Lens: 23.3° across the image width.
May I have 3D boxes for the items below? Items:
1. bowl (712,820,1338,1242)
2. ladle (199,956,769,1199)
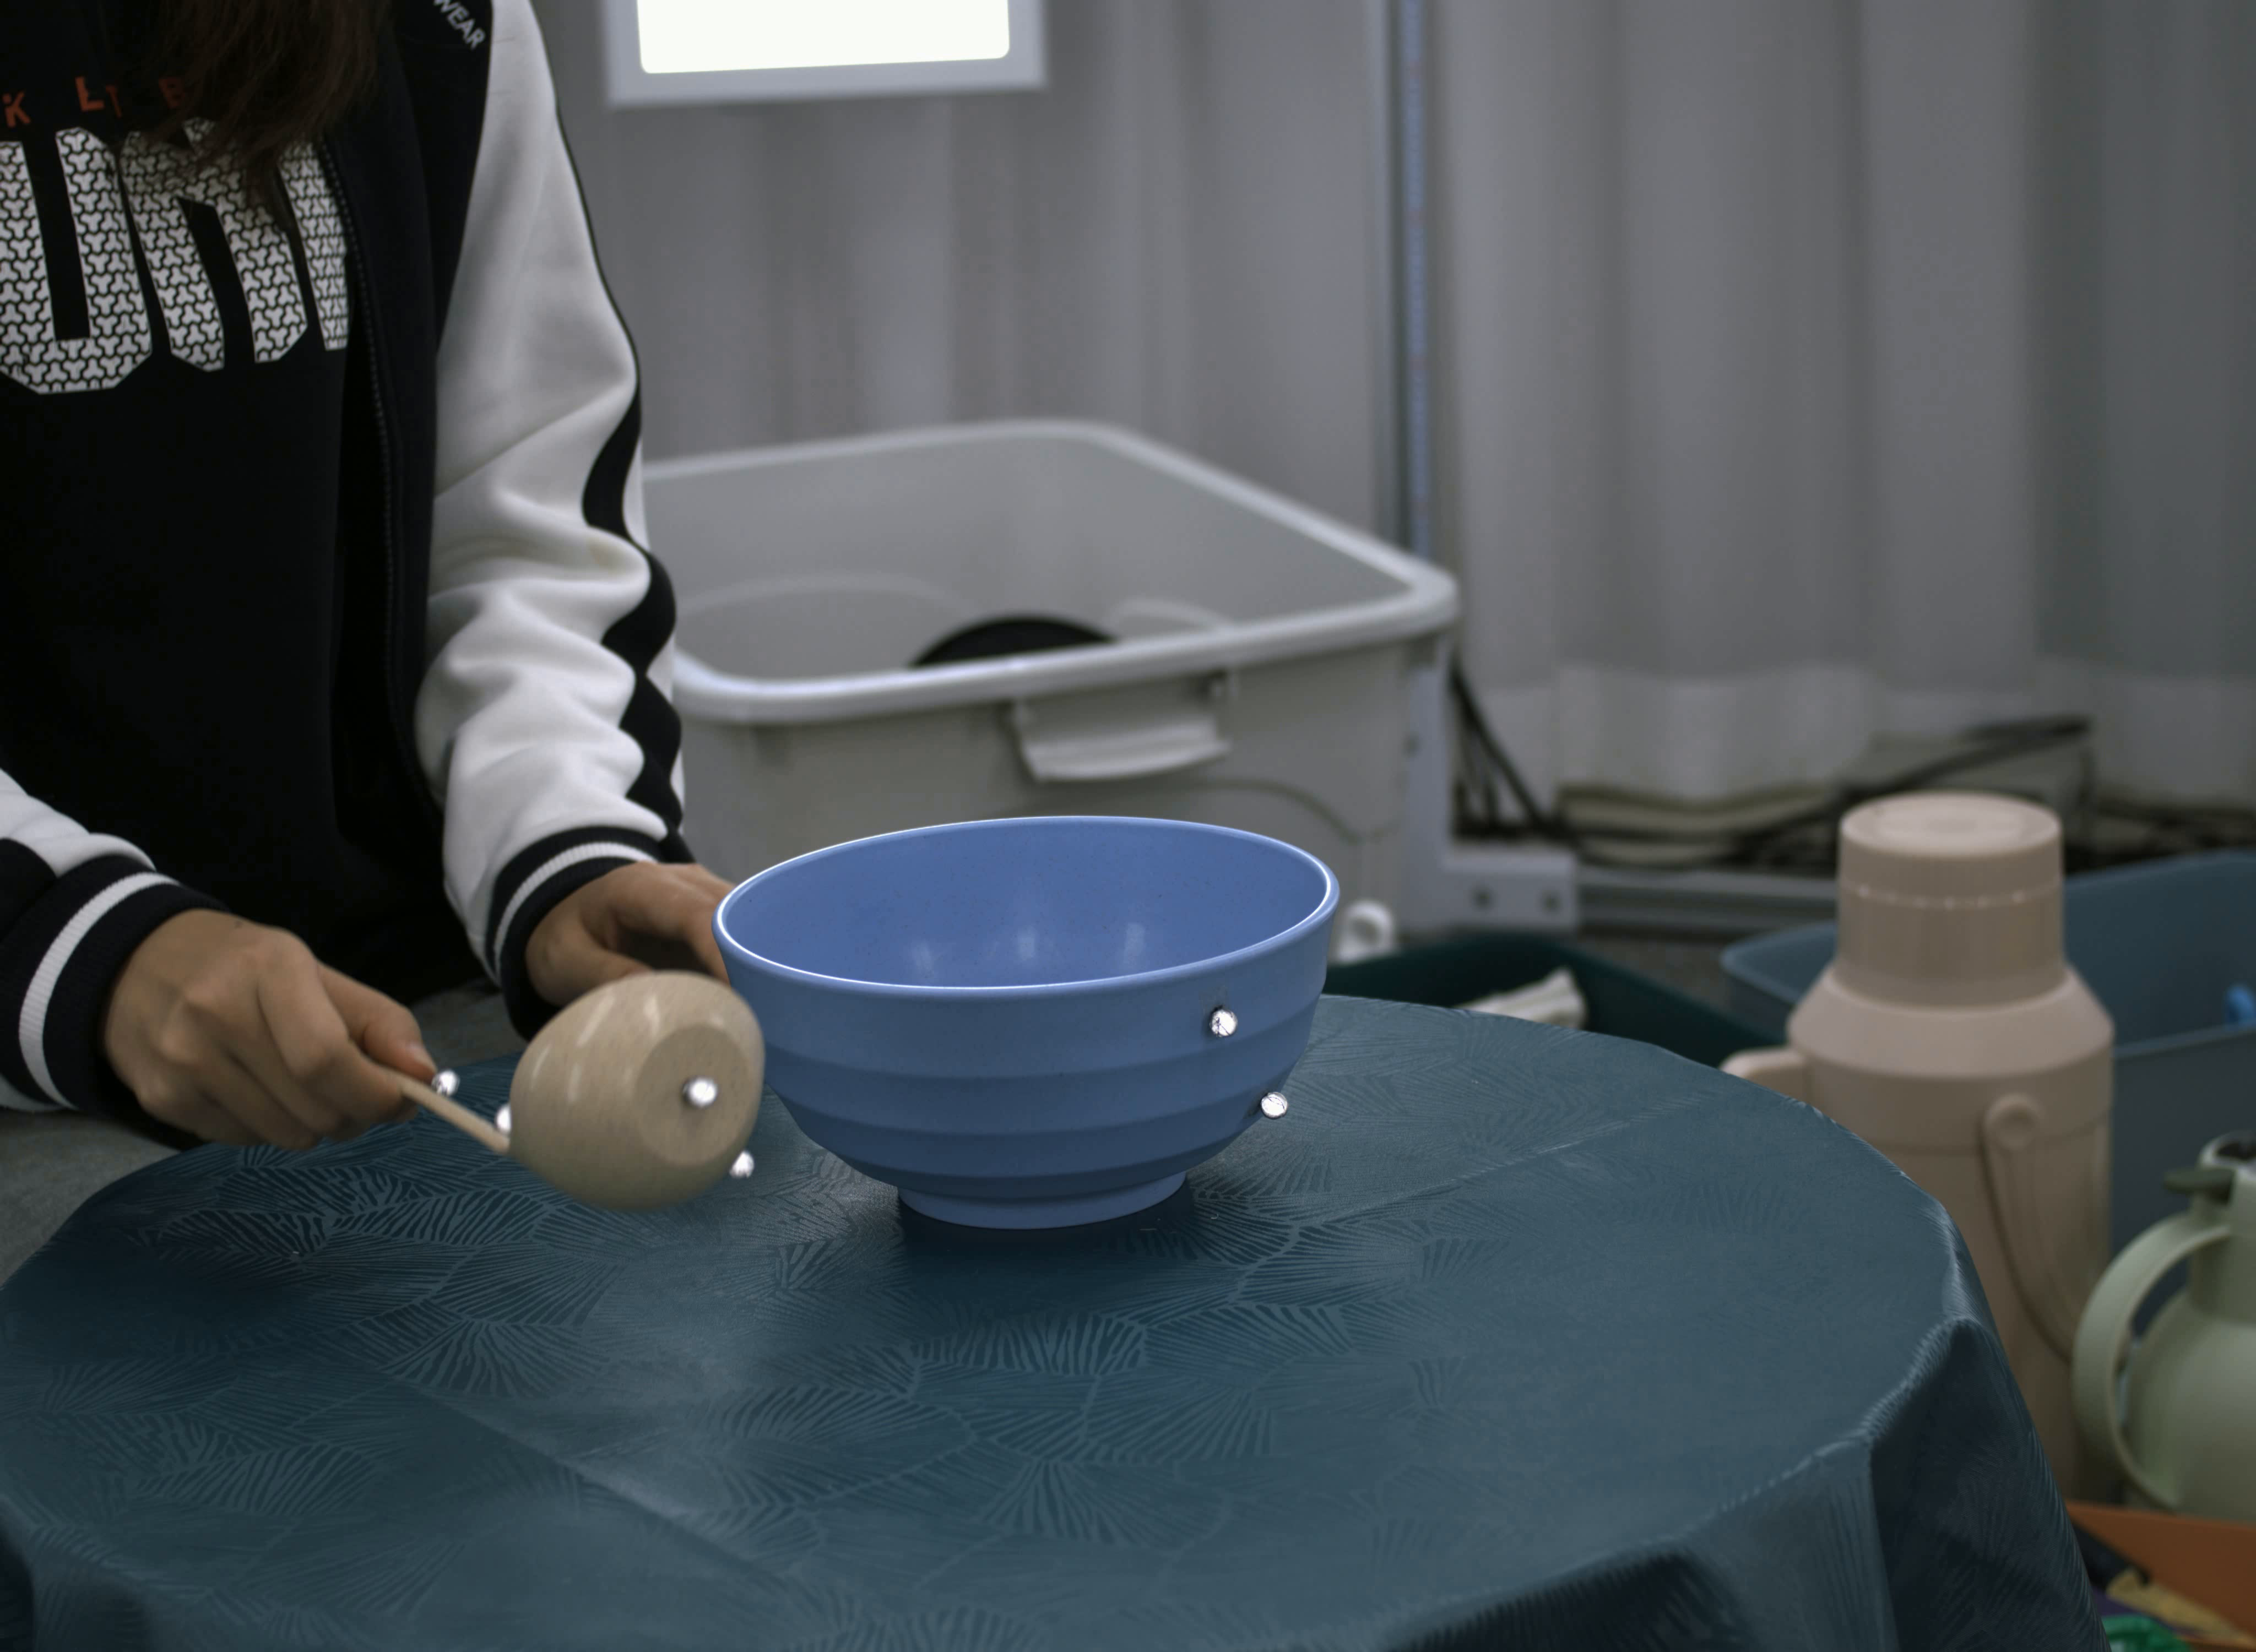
[{"bbox_3d":[-0.029,0.071,1.716,0.196,0.095,0.198,-4,15,1],"label":"bowl"},{"bbox_3d":[-0.194,0.054,1.621,0.071,0.073,0.256,38,-14,-35],"label":"ladle"}]
